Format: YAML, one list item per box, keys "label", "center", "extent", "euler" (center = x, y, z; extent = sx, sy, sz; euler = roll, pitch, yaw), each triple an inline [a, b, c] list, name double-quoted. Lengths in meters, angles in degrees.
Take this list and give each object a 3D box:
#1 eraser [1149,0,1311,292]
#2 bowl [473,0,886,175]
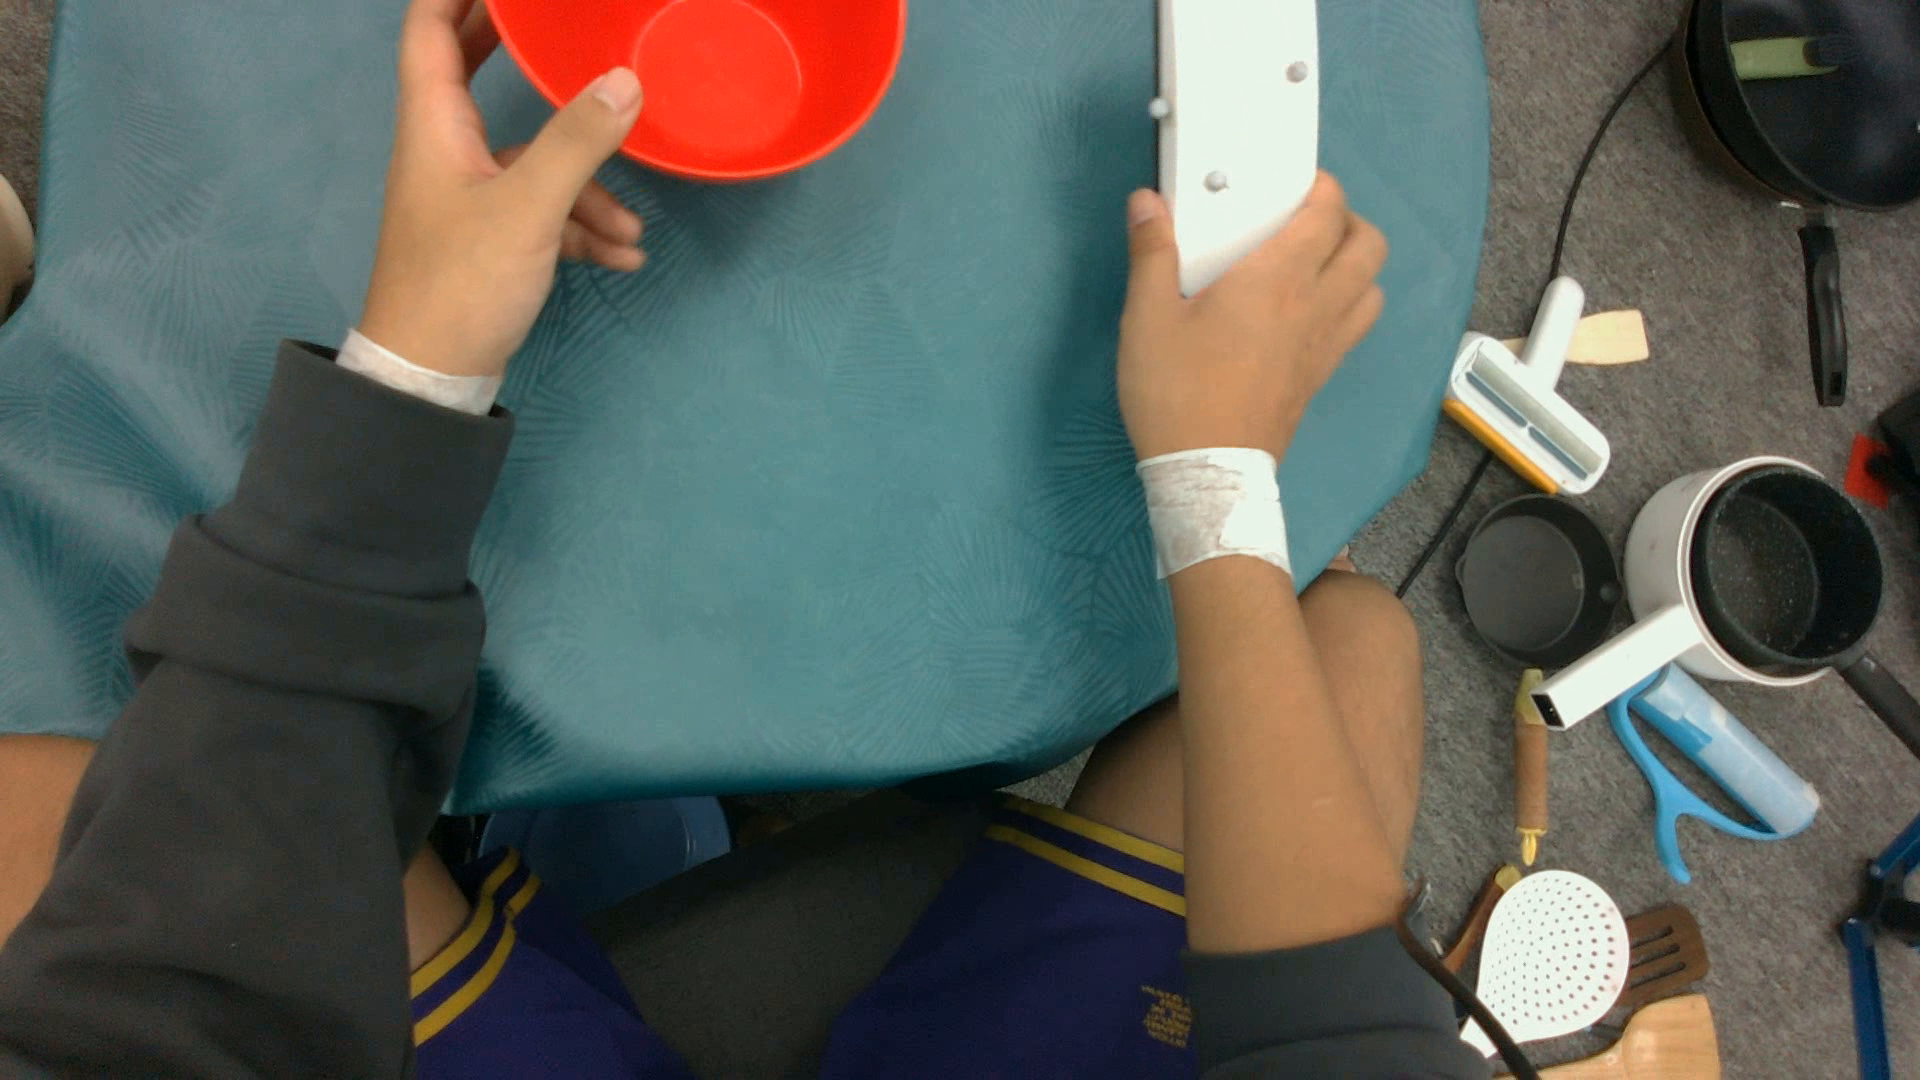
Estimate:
- label: "eraser"
  center: [0.109, -0.168, 0.565]
  extent: [0.063, 0.034, 0.131]
  euler: [-1, 98, -15]
- label: "bowl"
  center: [-0.105, -0.200, 0.516]
  extent: [0.148, 0.104, 0.148]
  euler: [1, 85, -15]
